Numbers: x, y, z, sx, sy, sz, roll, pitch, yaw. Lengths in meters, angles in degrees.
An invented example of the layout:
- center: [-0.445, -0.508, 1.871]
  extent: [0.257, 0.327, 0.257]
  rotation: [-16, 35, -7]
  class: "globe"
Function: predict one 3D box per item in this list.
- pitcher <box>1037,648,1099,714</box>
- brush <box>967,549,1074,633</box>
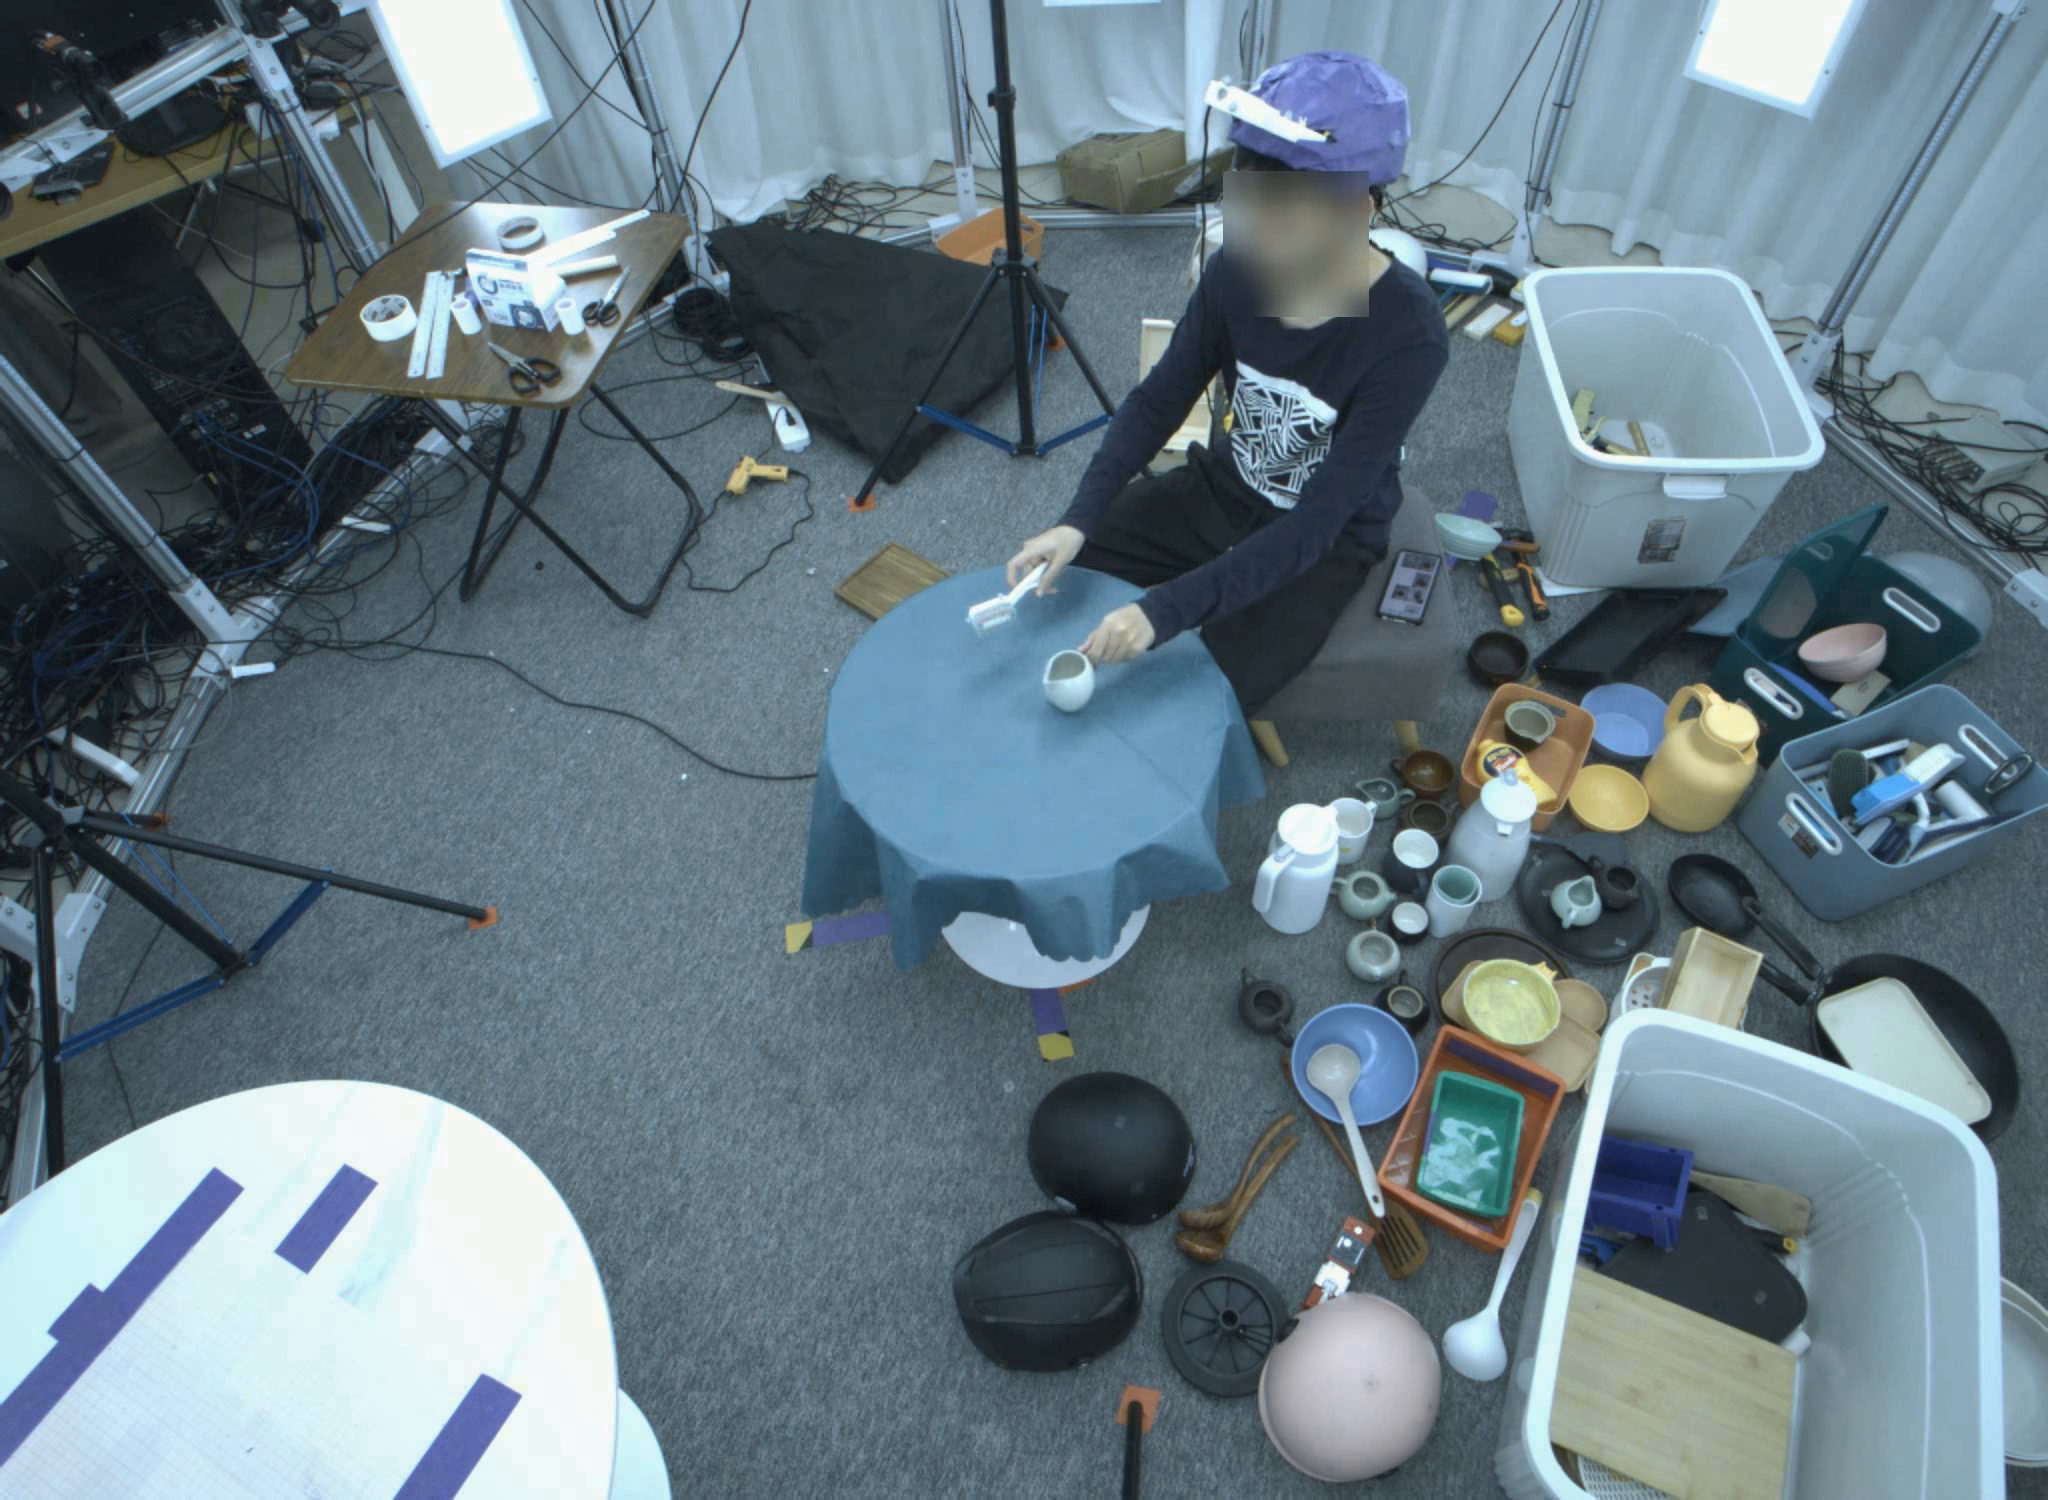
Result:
- center: [0.065, -0.099, 1.793]
  extent: [0.120, 0.089, 0.074]
  rotation: [-38, 65, -18]
  class: "pitcher"
- center: [0.008, -0.244, 1.866]
  extent: [0.049, 0.035, 0.246]
  rotation: [33, 51, 29]
  class: "brush"
